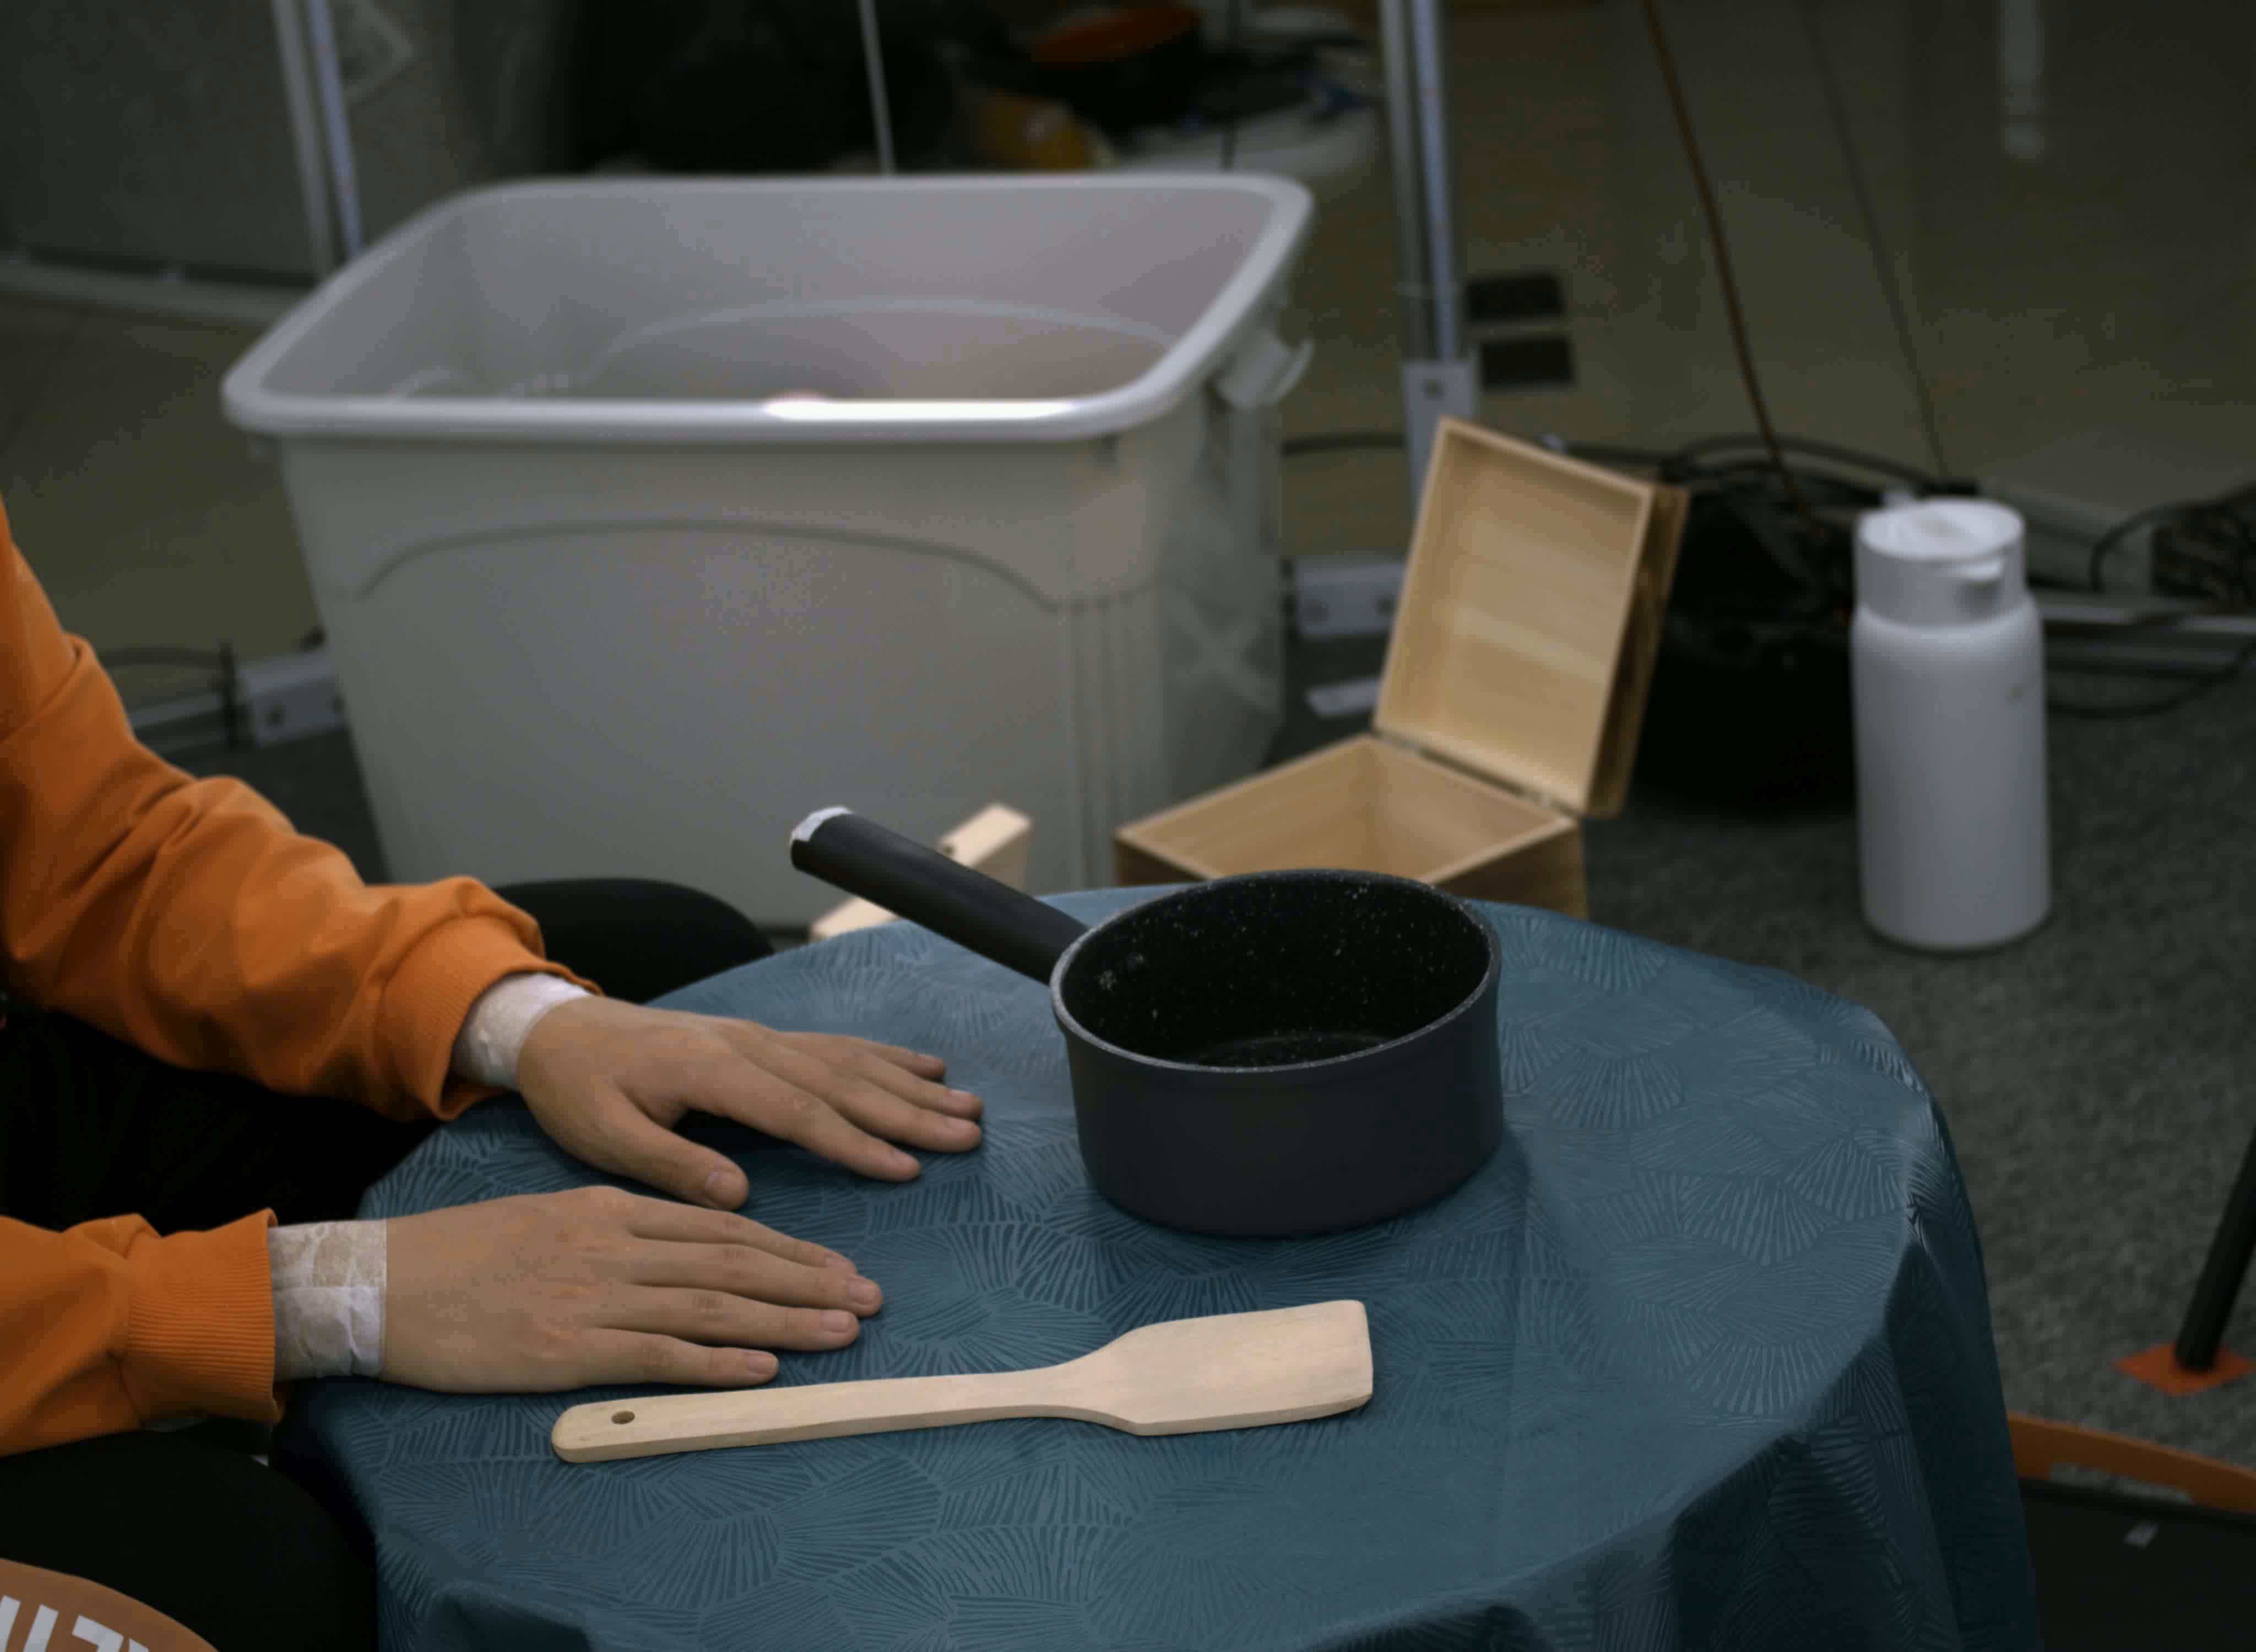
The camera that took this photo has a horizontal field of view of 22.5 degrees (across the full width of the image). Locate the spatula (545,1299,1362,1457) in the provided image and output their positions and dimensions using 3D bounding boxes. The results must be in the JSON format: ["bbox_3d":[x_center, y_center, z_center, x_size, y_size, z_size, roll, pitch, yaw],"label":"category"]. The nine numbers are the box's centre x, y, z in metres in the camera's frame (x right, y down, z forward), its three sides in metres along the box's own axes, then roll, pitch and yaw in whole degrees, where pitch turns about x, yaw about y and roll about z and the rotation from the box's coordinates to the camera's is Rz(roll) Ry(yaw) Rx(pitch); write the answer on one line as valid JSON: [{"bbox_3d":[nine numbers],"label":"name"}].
[{"bbox_3d":[-0.062,0.203,2.015,0.292,0.011,0.071,-6,29,2],"label":"spatula"}]

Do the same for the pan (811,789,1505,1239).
[{"bbox_3d":[0.001,0.066,2.202,0.326,0.088,0.170,19,34,39],"label":"pan"}]
